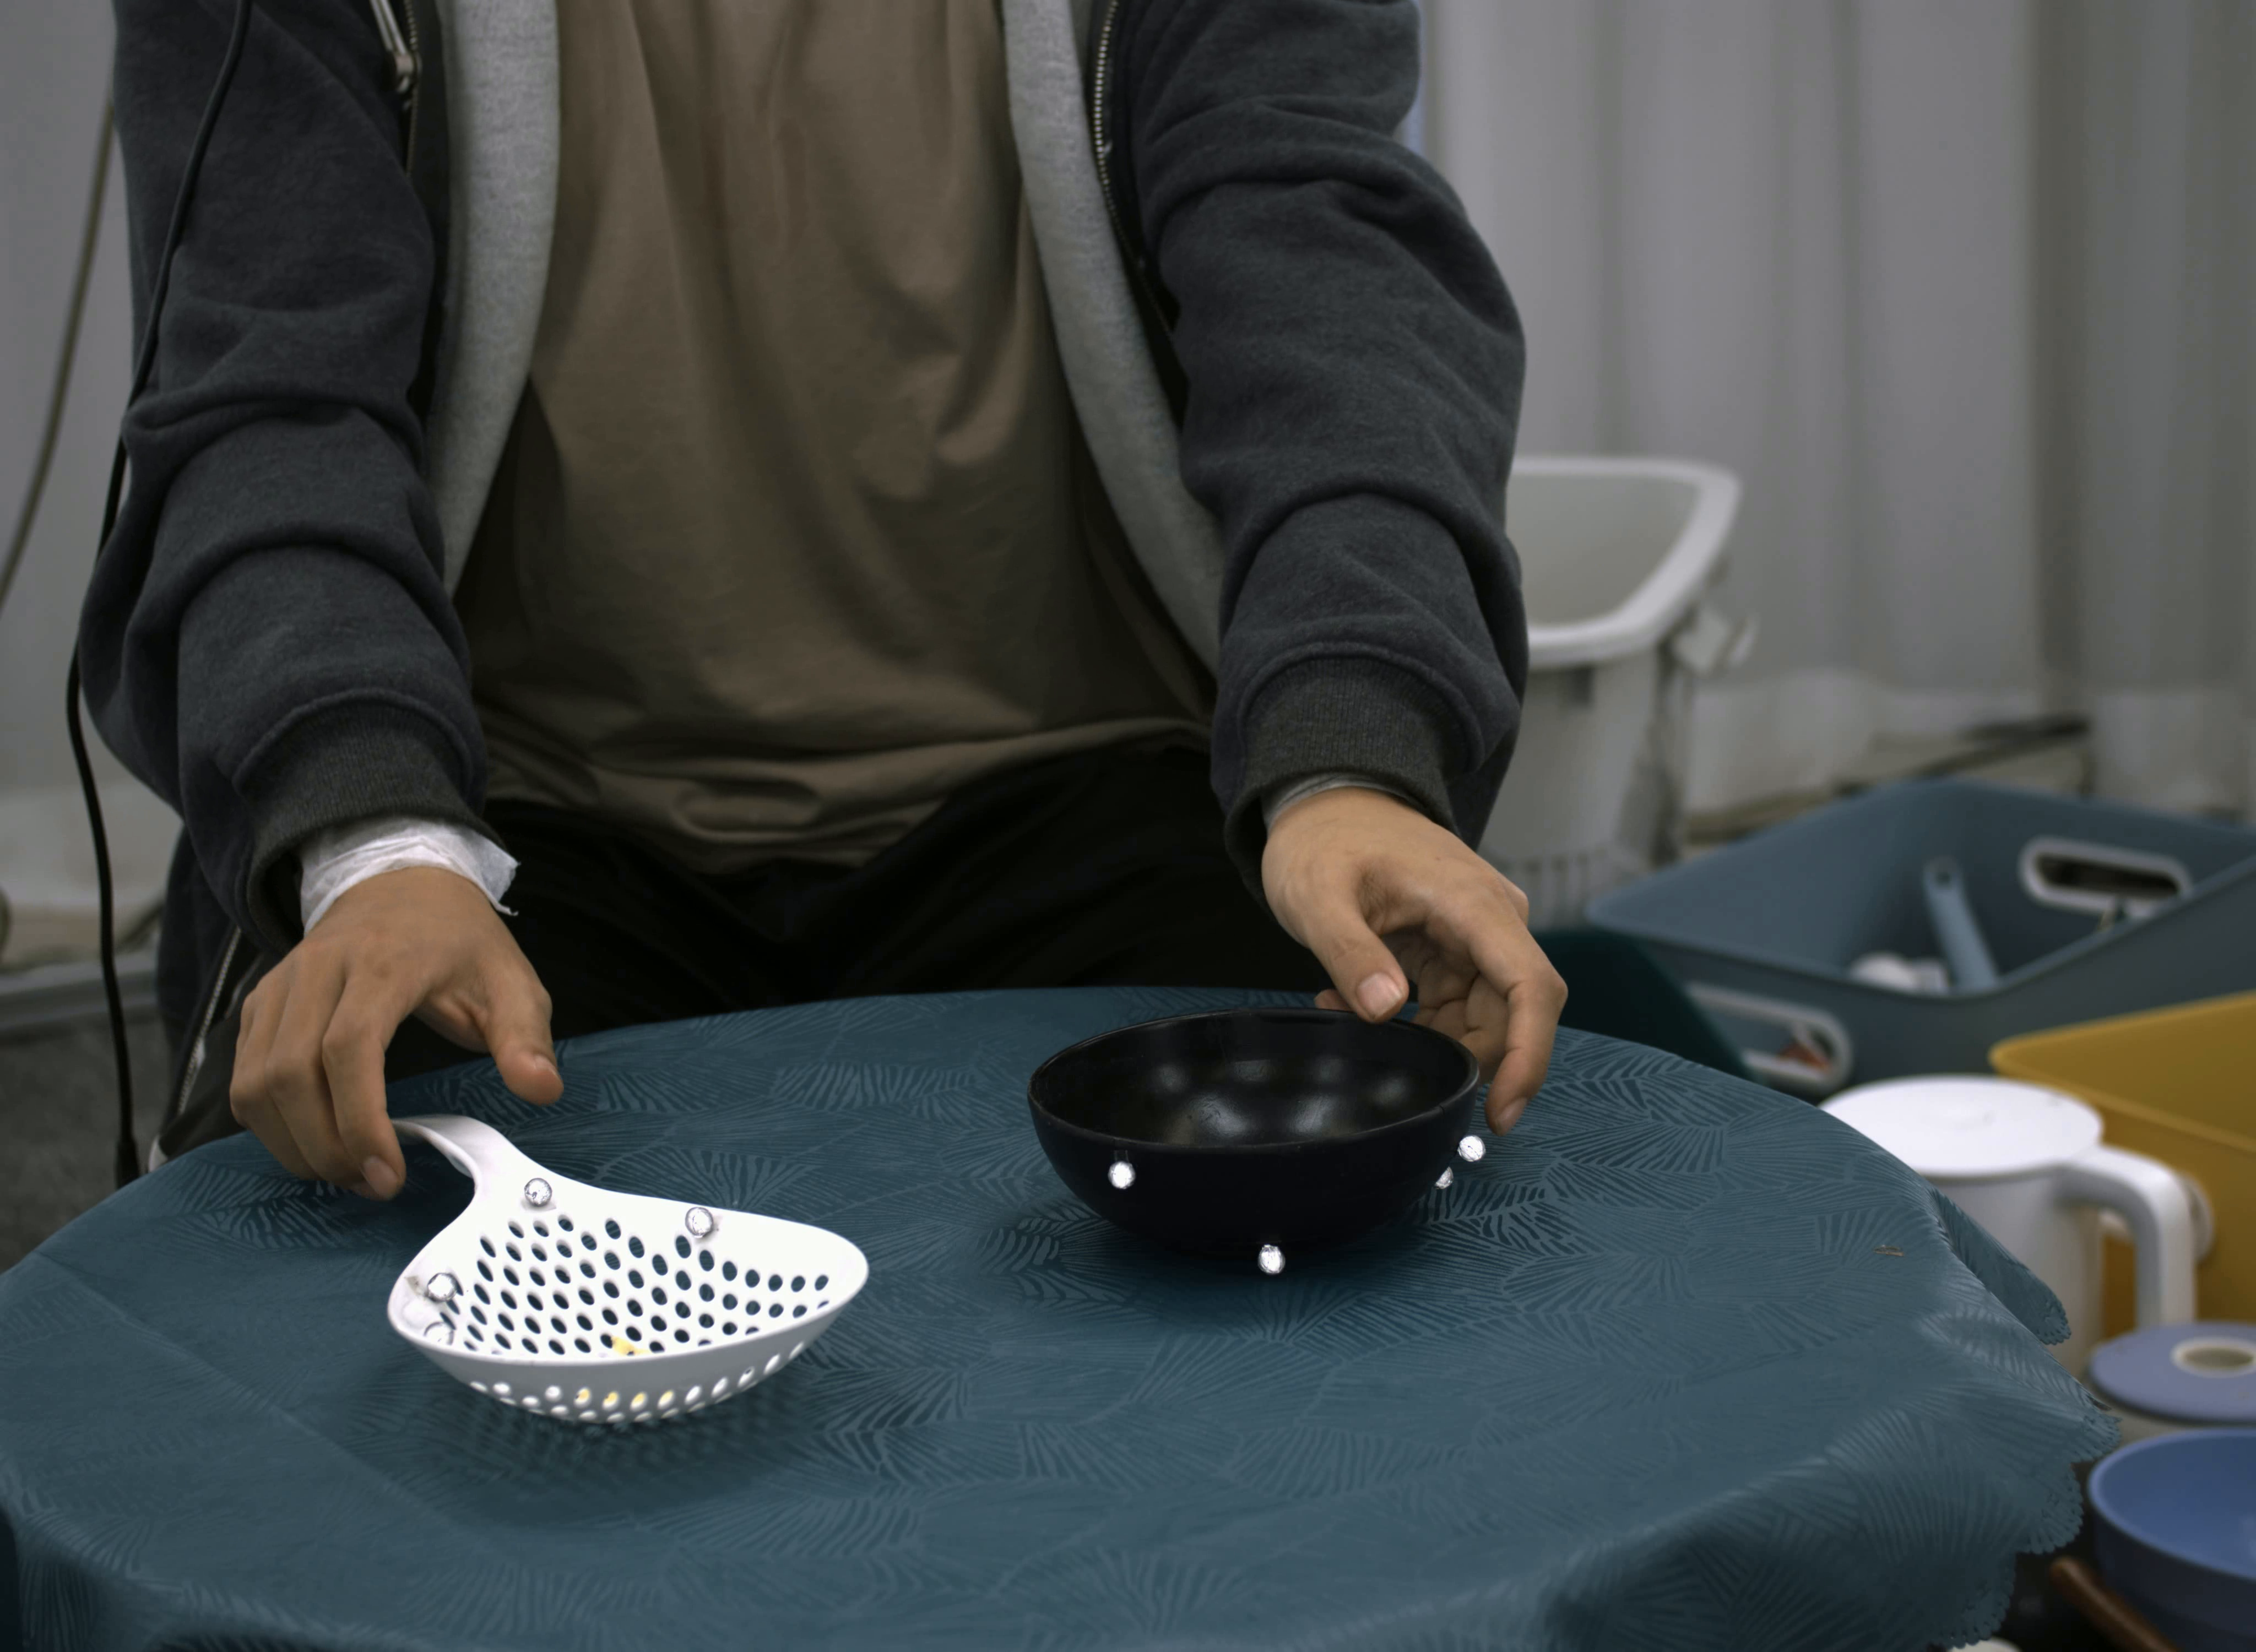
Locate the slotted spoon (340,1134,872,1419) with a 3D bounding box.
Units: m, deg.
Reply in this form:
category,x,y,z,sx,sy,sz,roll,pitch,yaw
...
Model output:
category,x,y,z,sx,sy,sz,roll,pitch,yaw
slotted spoon,-0.181,0.122,1.649,0.136,0.050,0.350,-12,17,-20
